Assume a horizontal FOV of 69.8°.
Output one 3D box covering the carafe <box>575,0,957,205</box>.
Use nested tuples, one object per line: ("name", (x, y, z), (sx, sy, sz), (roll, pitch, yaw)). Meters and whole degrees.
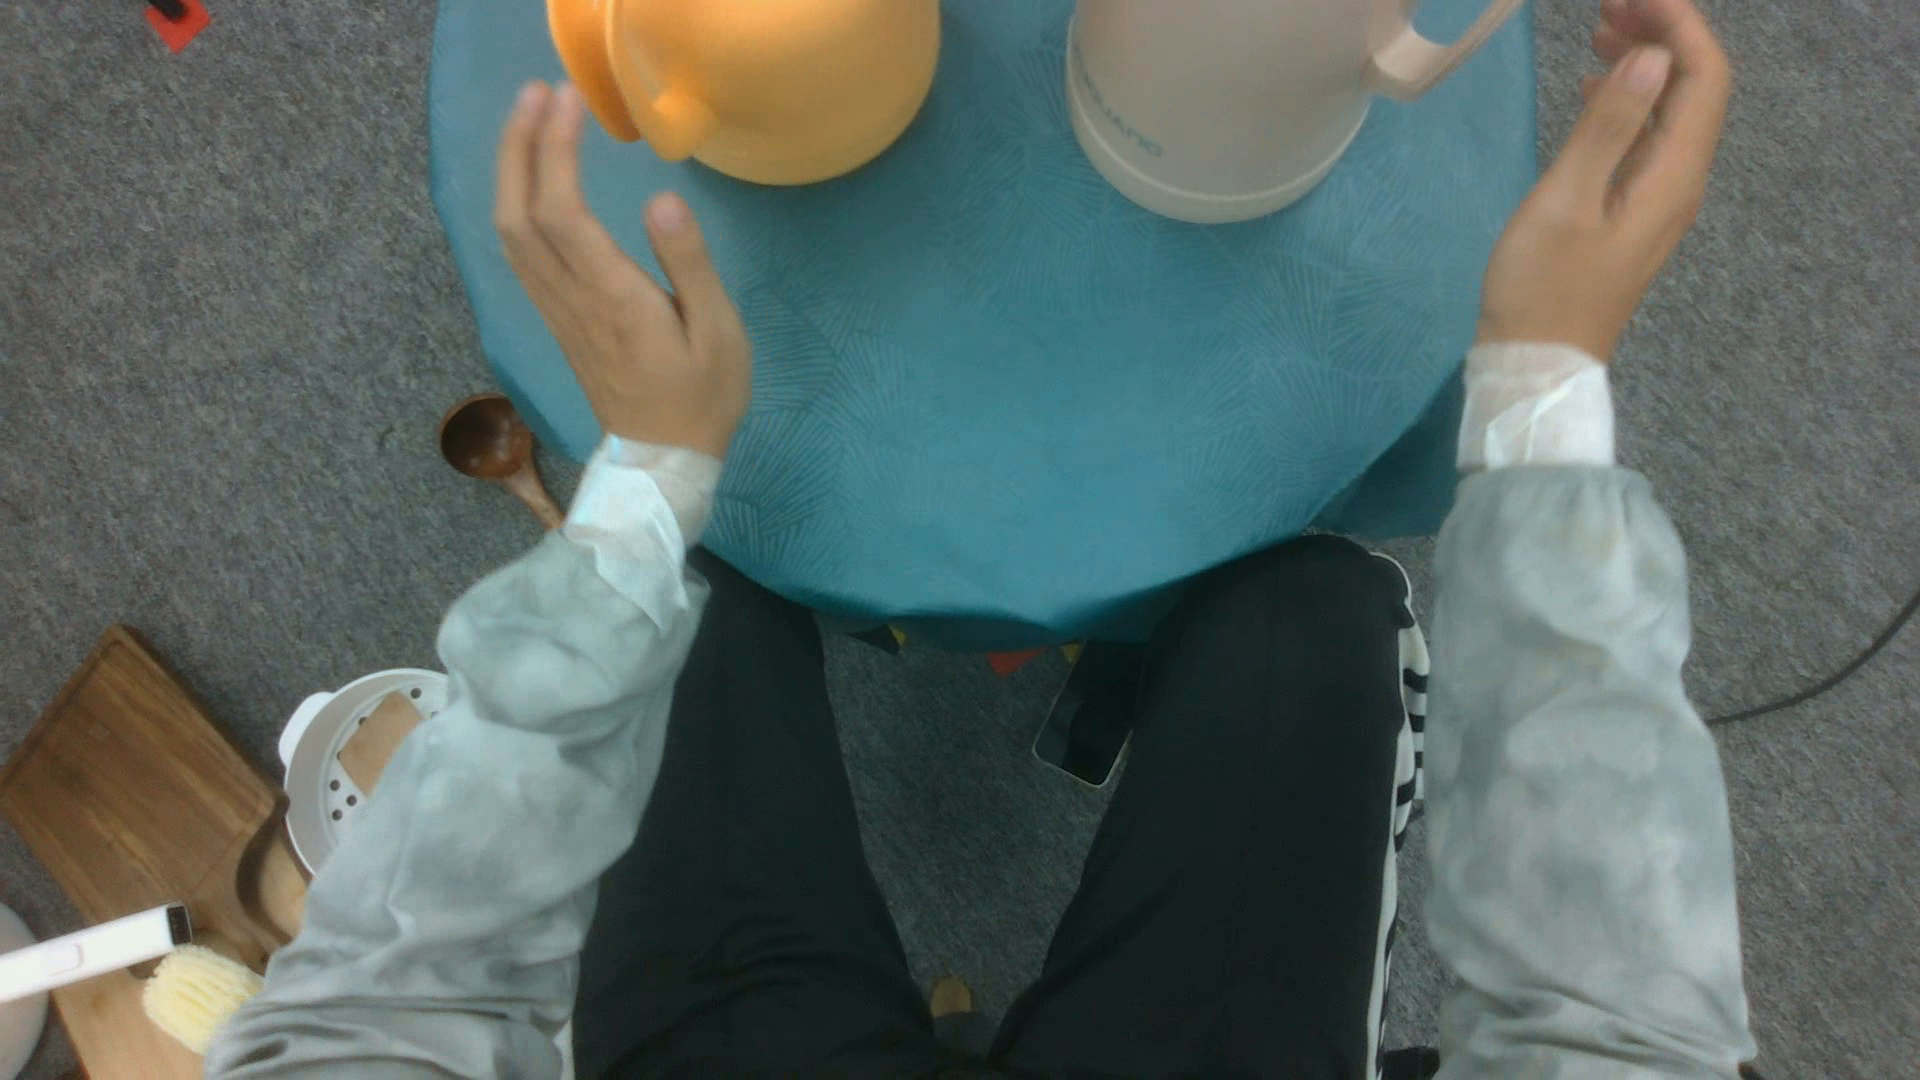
("carafe", (-0.097, -0.258, 0.634), (0.163, 0.260, 0.203), (25, 80, 9))

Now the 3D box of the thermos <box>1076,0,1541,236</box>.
("thermos", (0.143, -0.262, 0.558), (0.175, 0.405, 0.207), (-42, 81, -6))
